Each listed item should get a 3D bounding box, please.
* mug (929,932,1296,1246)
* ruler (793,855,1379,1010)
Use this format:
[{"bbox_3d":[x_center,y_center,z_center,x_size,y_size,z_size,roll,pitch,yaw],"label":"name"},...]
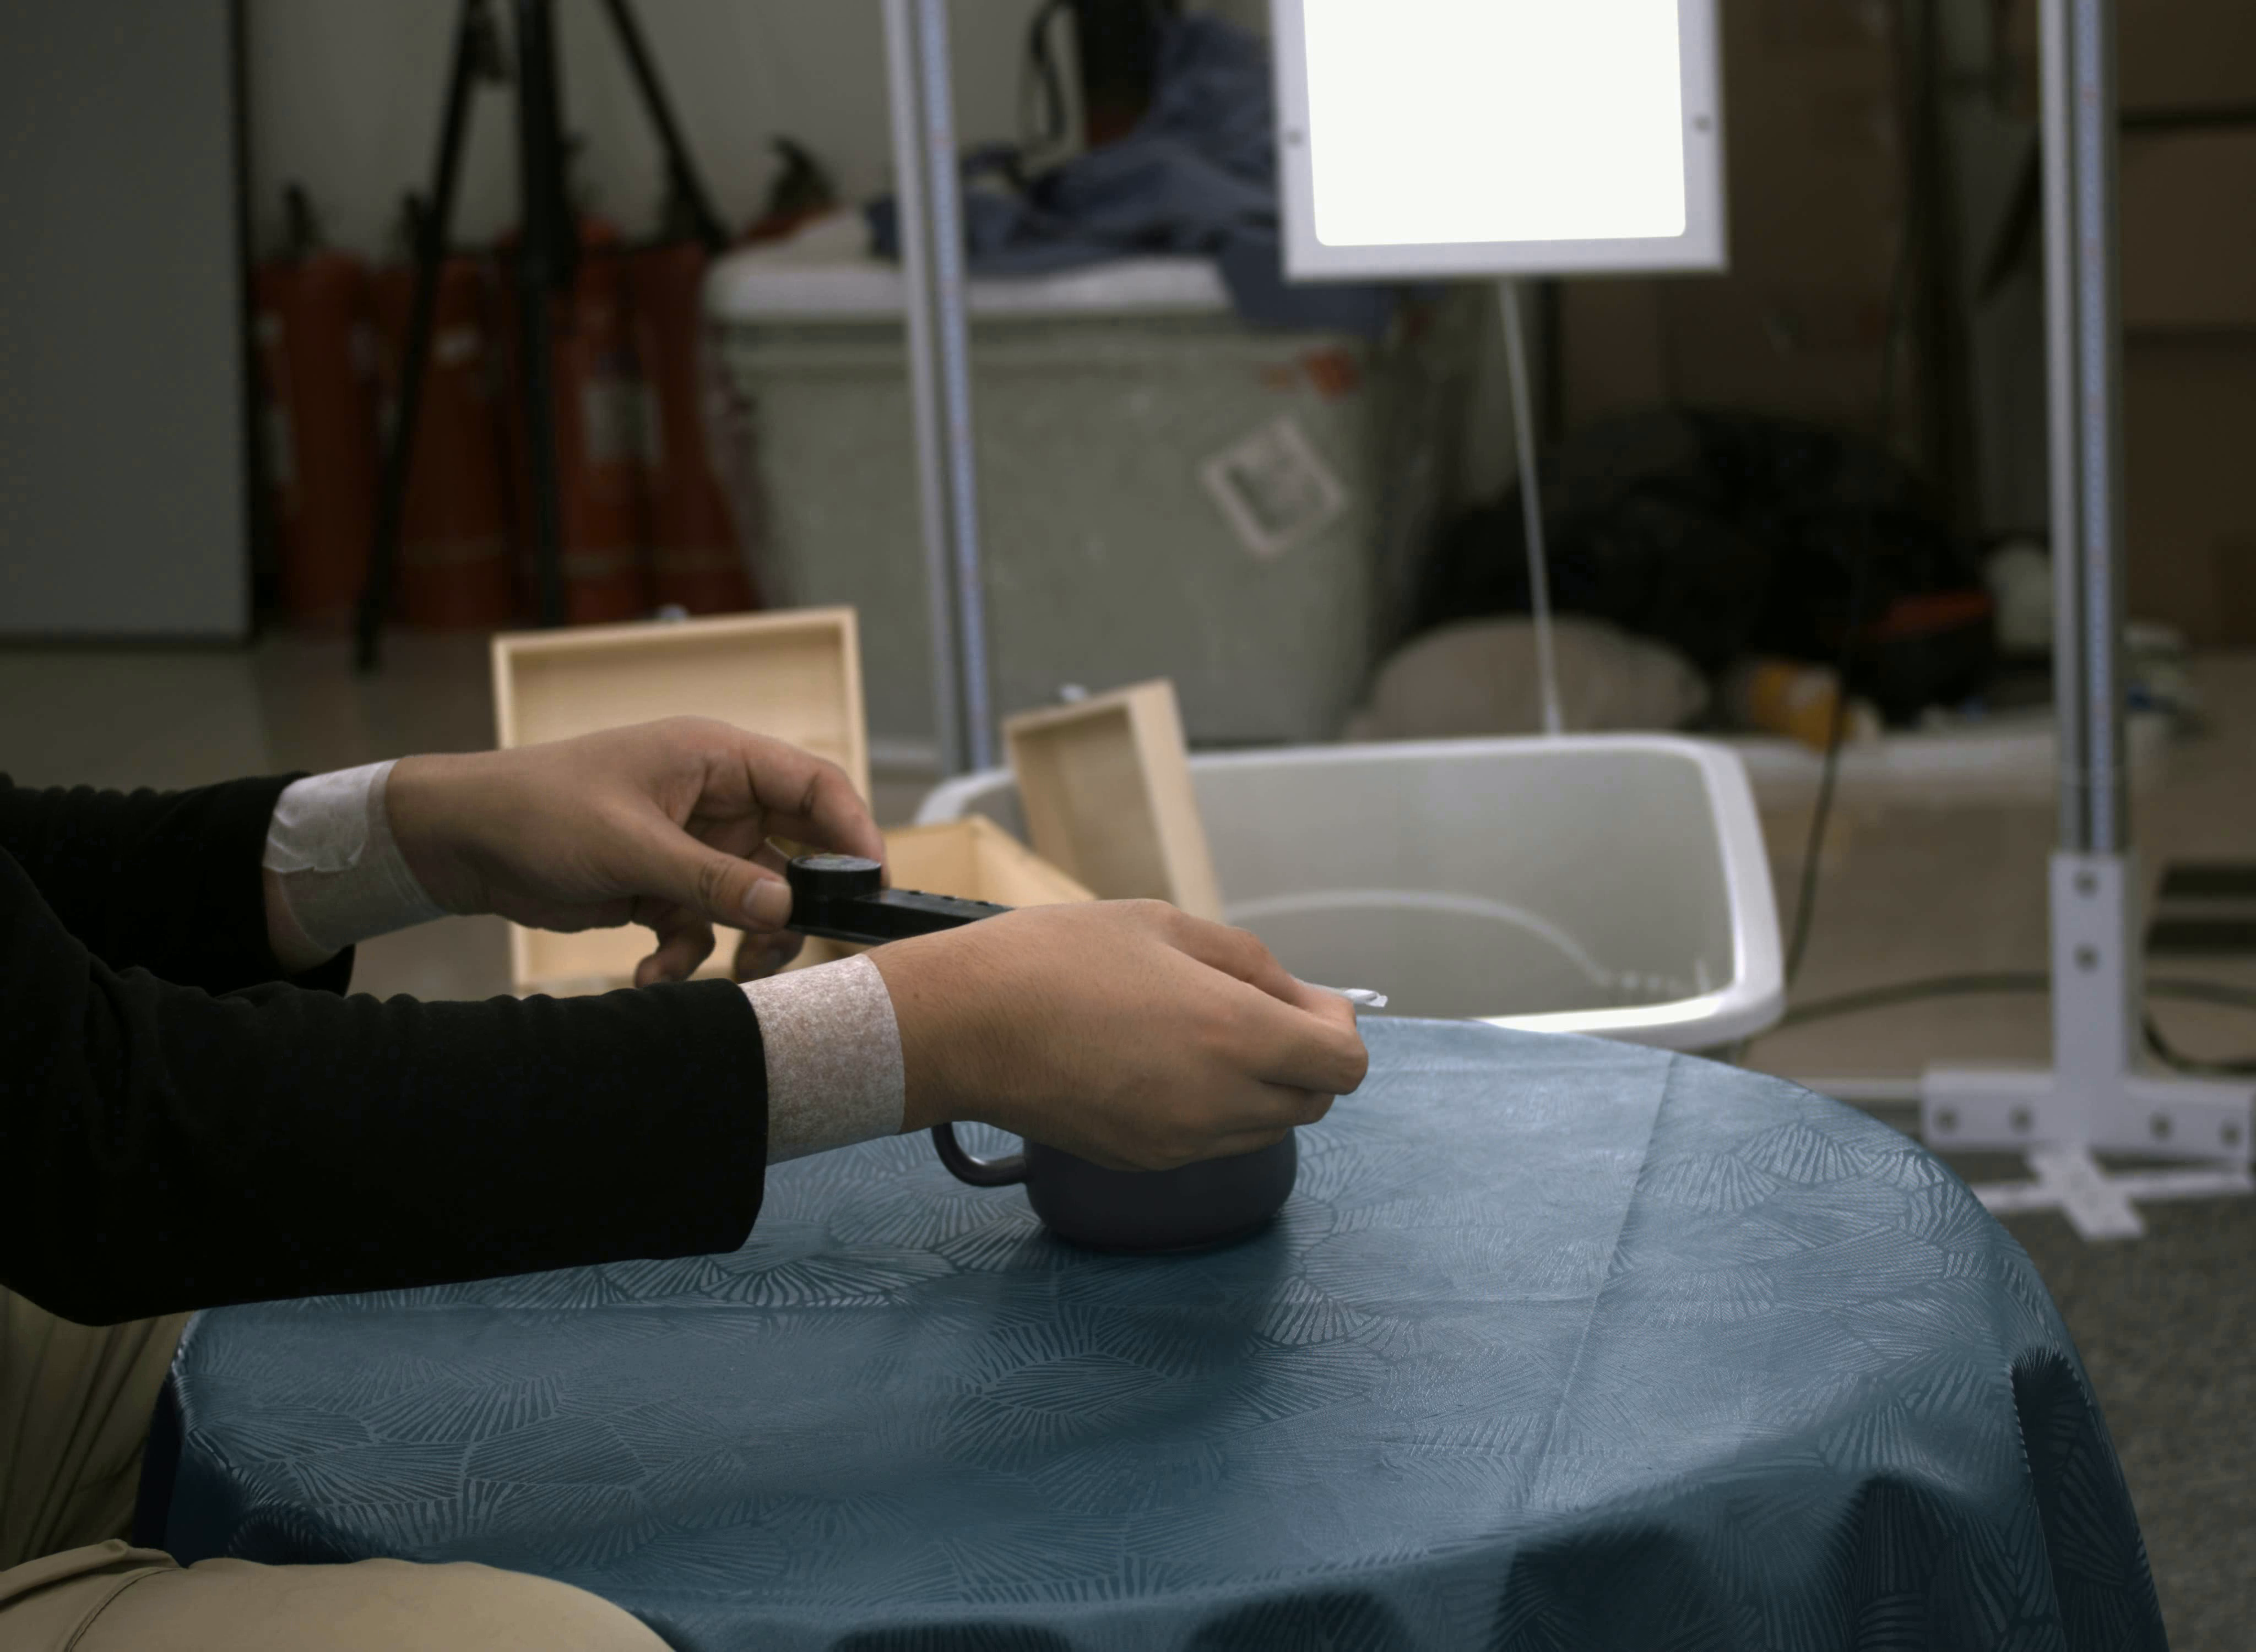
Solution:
[{"bbox_3d":[-0.006,0.089,1.856,0.123,0.090,0.093,-4,13,0],"label":"mug"},{"bbox_3d":[-0.019,0.034,1.795,0.222,0.024,0.037,7,19,35],"label":"ruler"}]
